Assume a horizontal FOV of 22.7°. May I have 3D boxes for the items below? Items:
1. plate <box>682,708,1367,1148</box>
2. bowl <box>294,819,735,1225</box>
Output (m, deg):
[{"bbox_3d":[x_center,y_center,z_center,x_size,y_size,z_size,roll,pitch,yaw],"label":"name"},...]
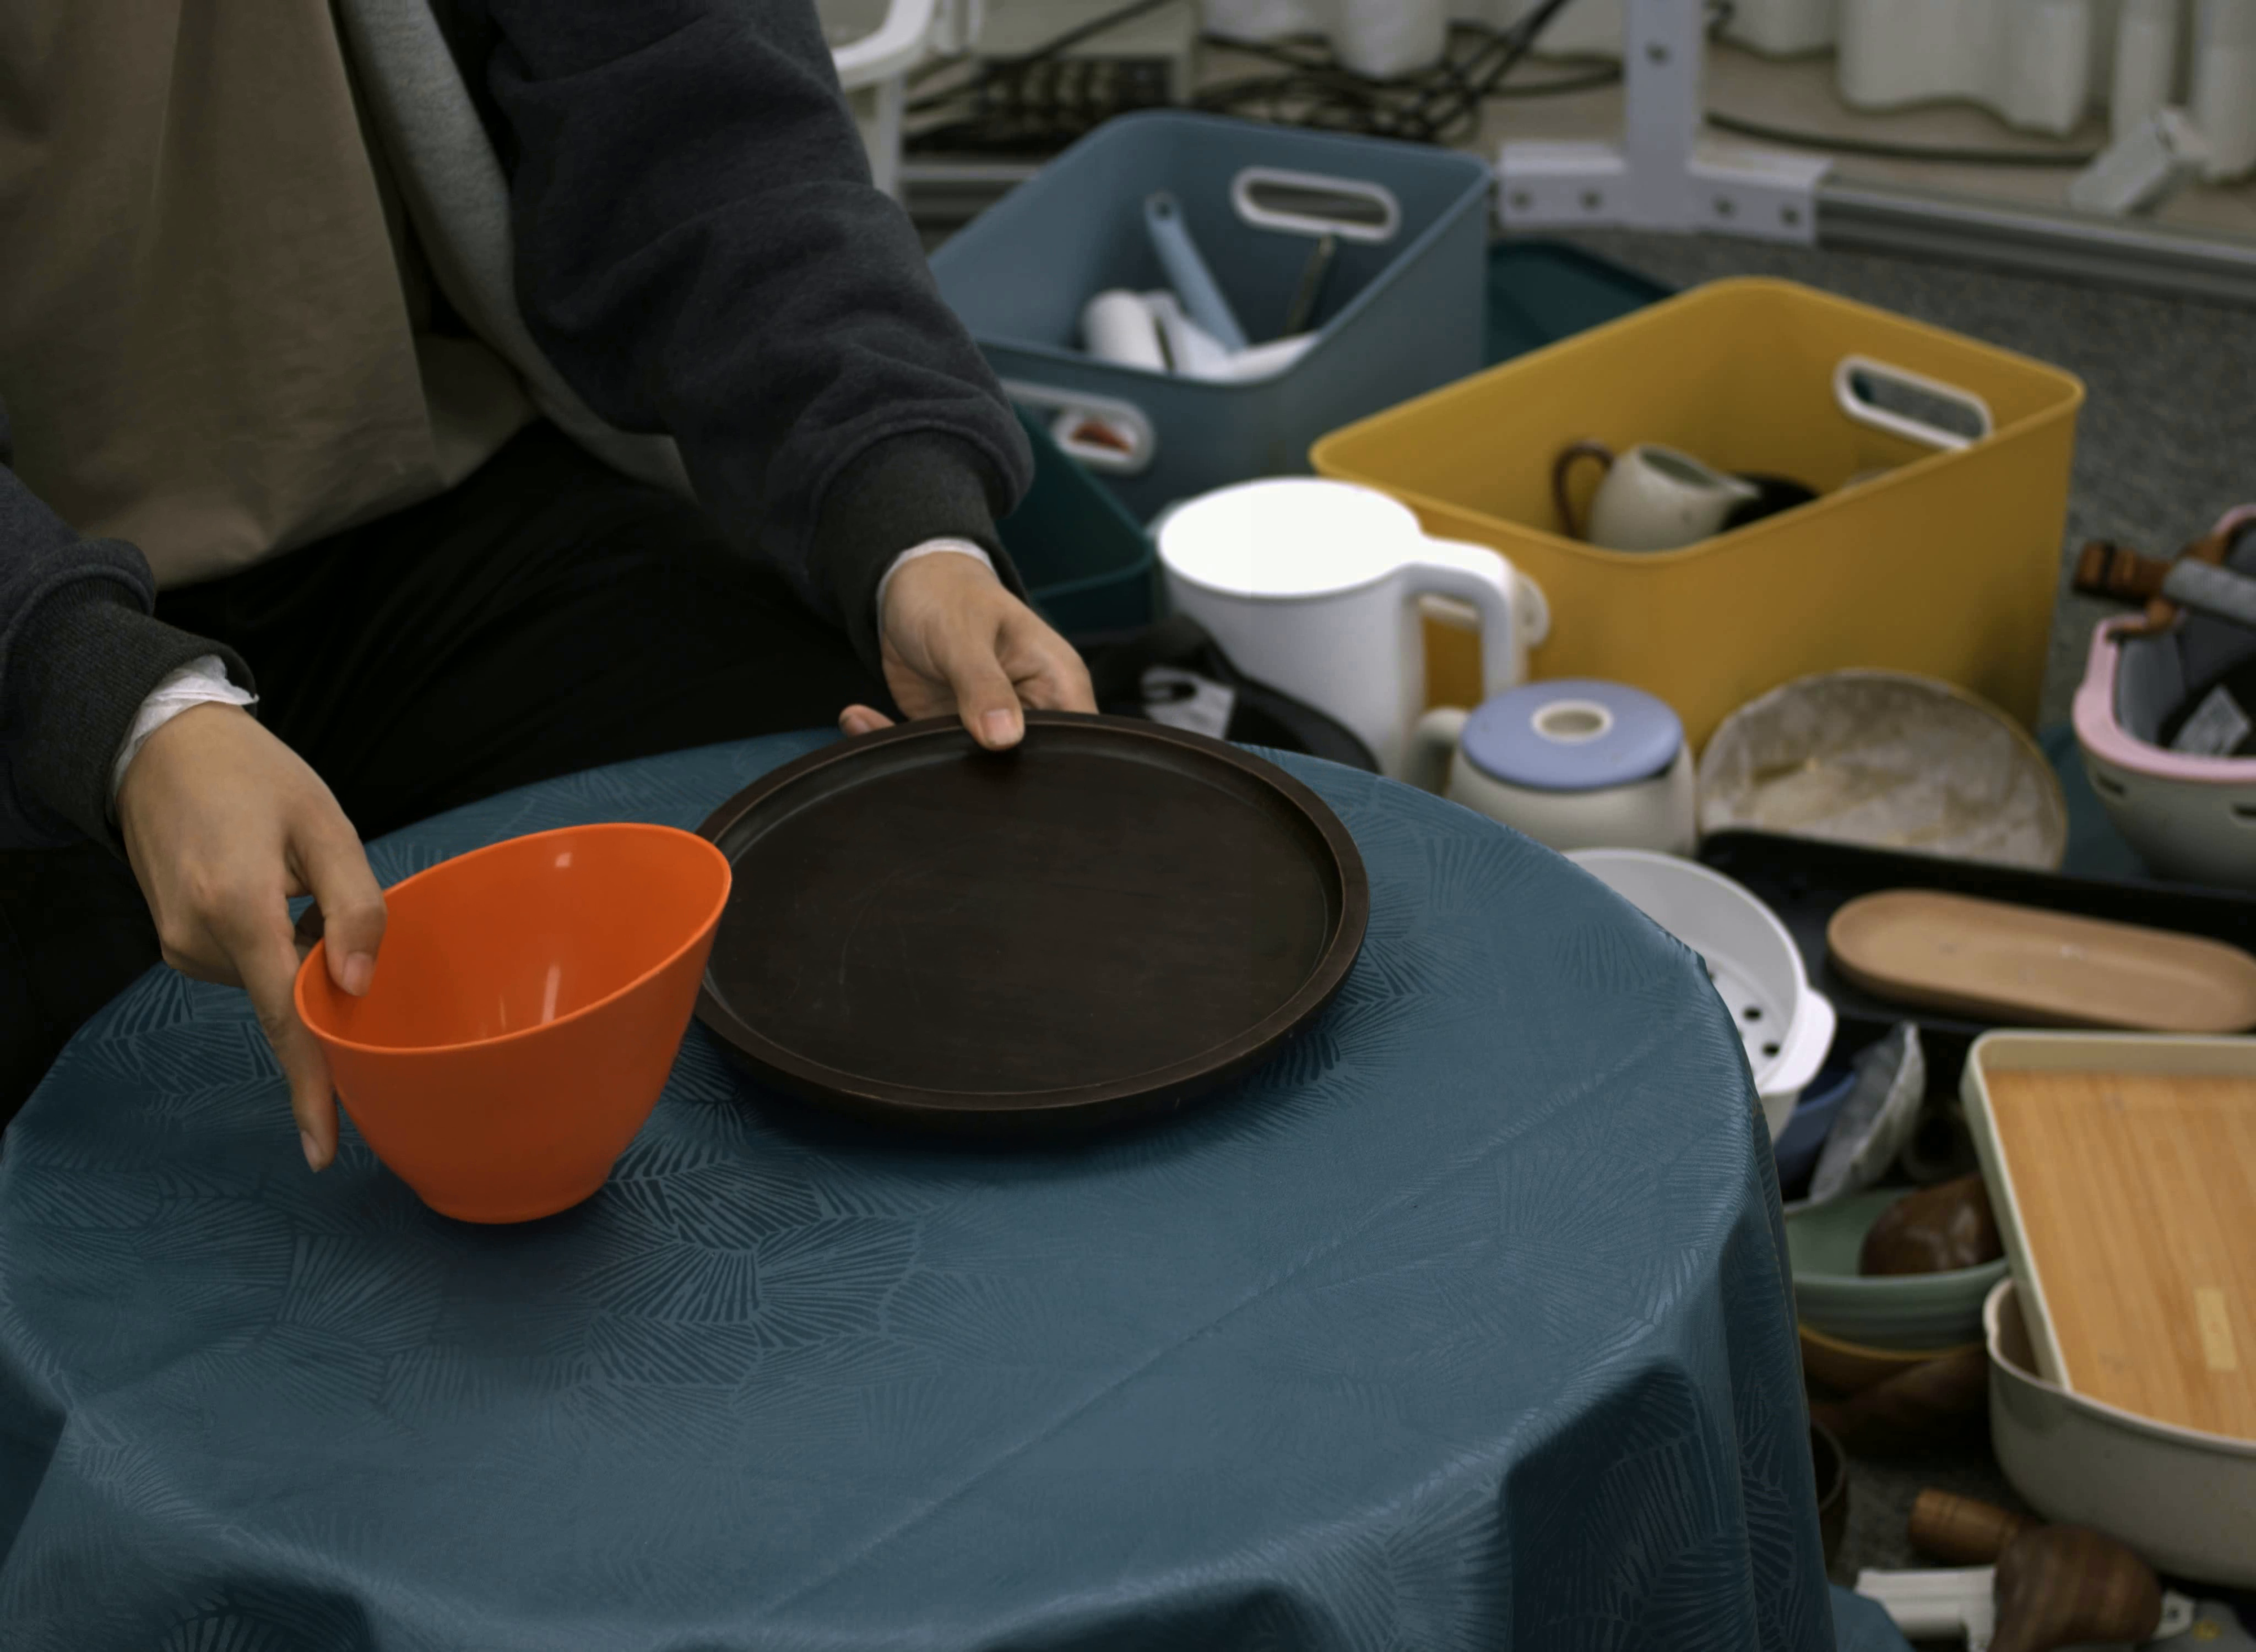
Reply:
[{"bbox_3d":[-0.041,0.034,1.981,0.253,0.028,0.259,-1,34,1],"label":"plate"},{"bbox_3d":[-0.198,0.071,1.851,0.147,0.103,0.150,-3,29,2],"label":"bowl"}]
